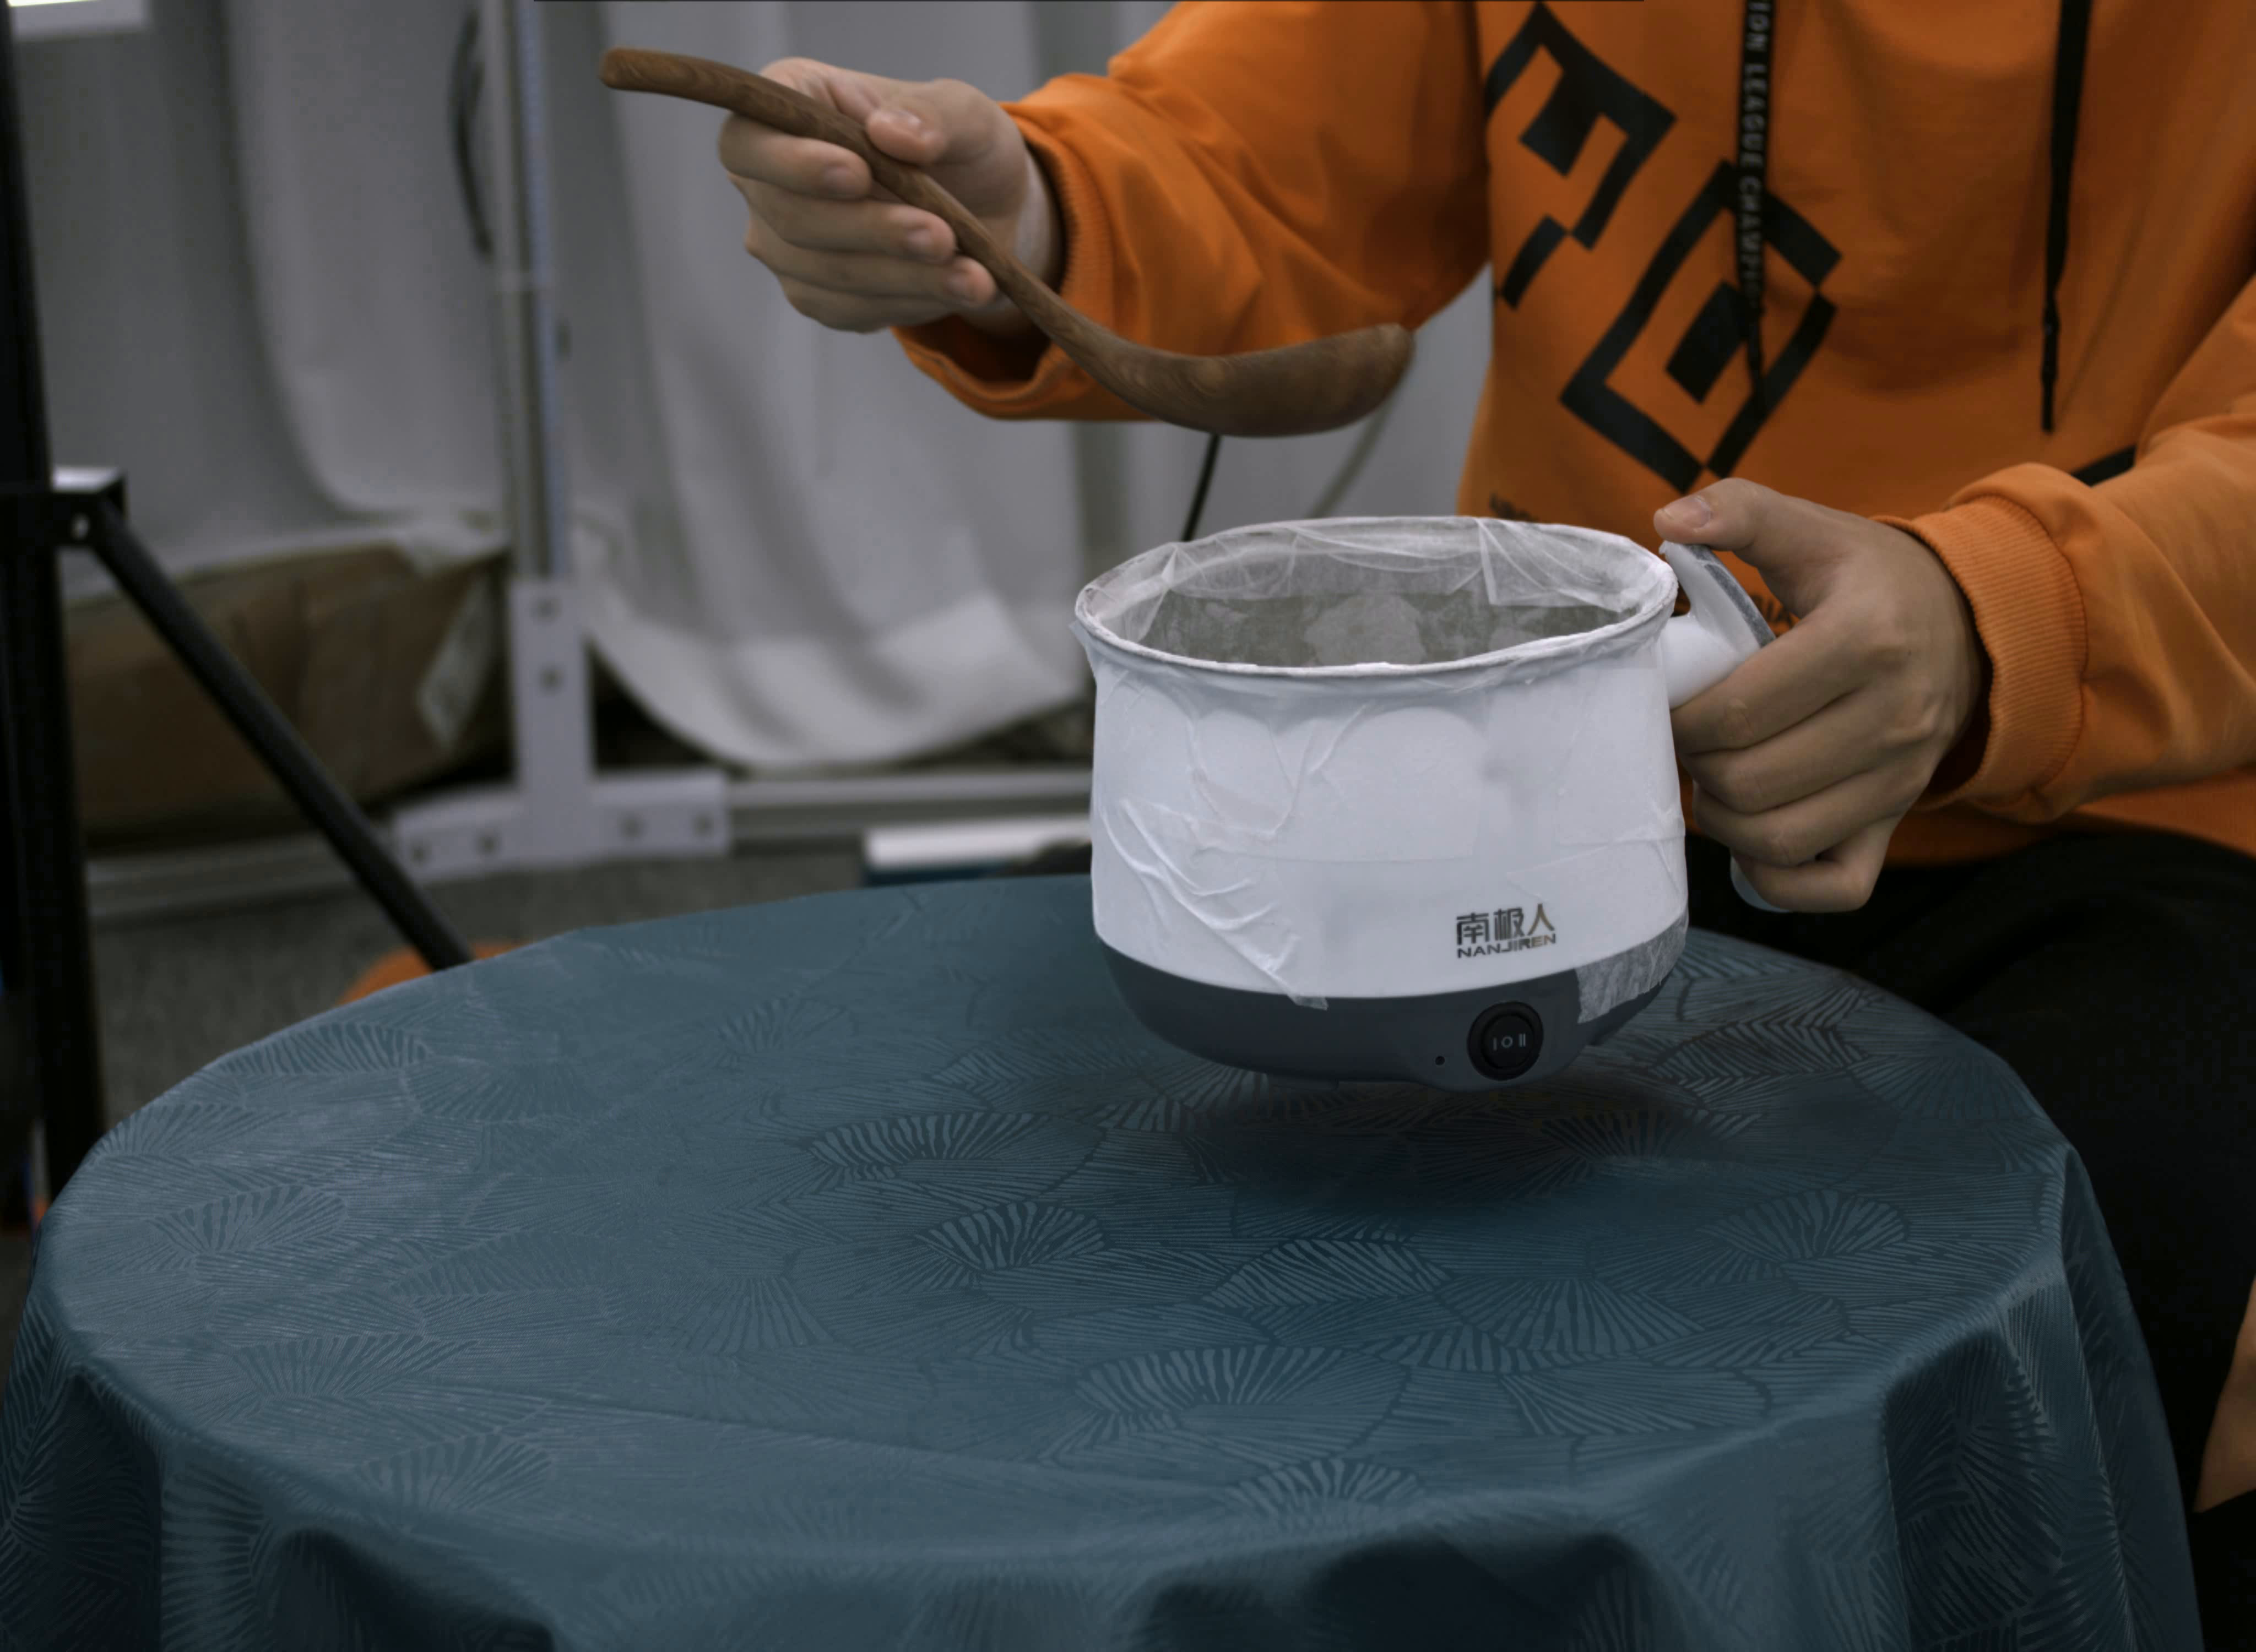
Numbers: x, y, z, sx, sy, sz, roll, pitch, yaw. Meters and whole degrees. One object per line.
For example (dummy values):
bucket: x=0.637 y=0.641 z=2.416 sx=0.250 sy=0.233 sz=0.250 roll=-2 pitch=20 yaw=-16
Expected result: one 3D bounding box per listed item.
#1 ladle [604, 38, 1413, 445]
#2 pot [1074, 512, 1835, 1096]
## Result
ladle: x=-0.034 y=-0.186 z=1.598 sx=0.261 sy=0.065 sz=0.076 roll=33 pitch=3 yaw=7
pot: x=0.101 y=-0.013 z=1.581 sx=0.229 sy=0.136 sz=0.182 roll=-9 pitch=18 yaw=-18
